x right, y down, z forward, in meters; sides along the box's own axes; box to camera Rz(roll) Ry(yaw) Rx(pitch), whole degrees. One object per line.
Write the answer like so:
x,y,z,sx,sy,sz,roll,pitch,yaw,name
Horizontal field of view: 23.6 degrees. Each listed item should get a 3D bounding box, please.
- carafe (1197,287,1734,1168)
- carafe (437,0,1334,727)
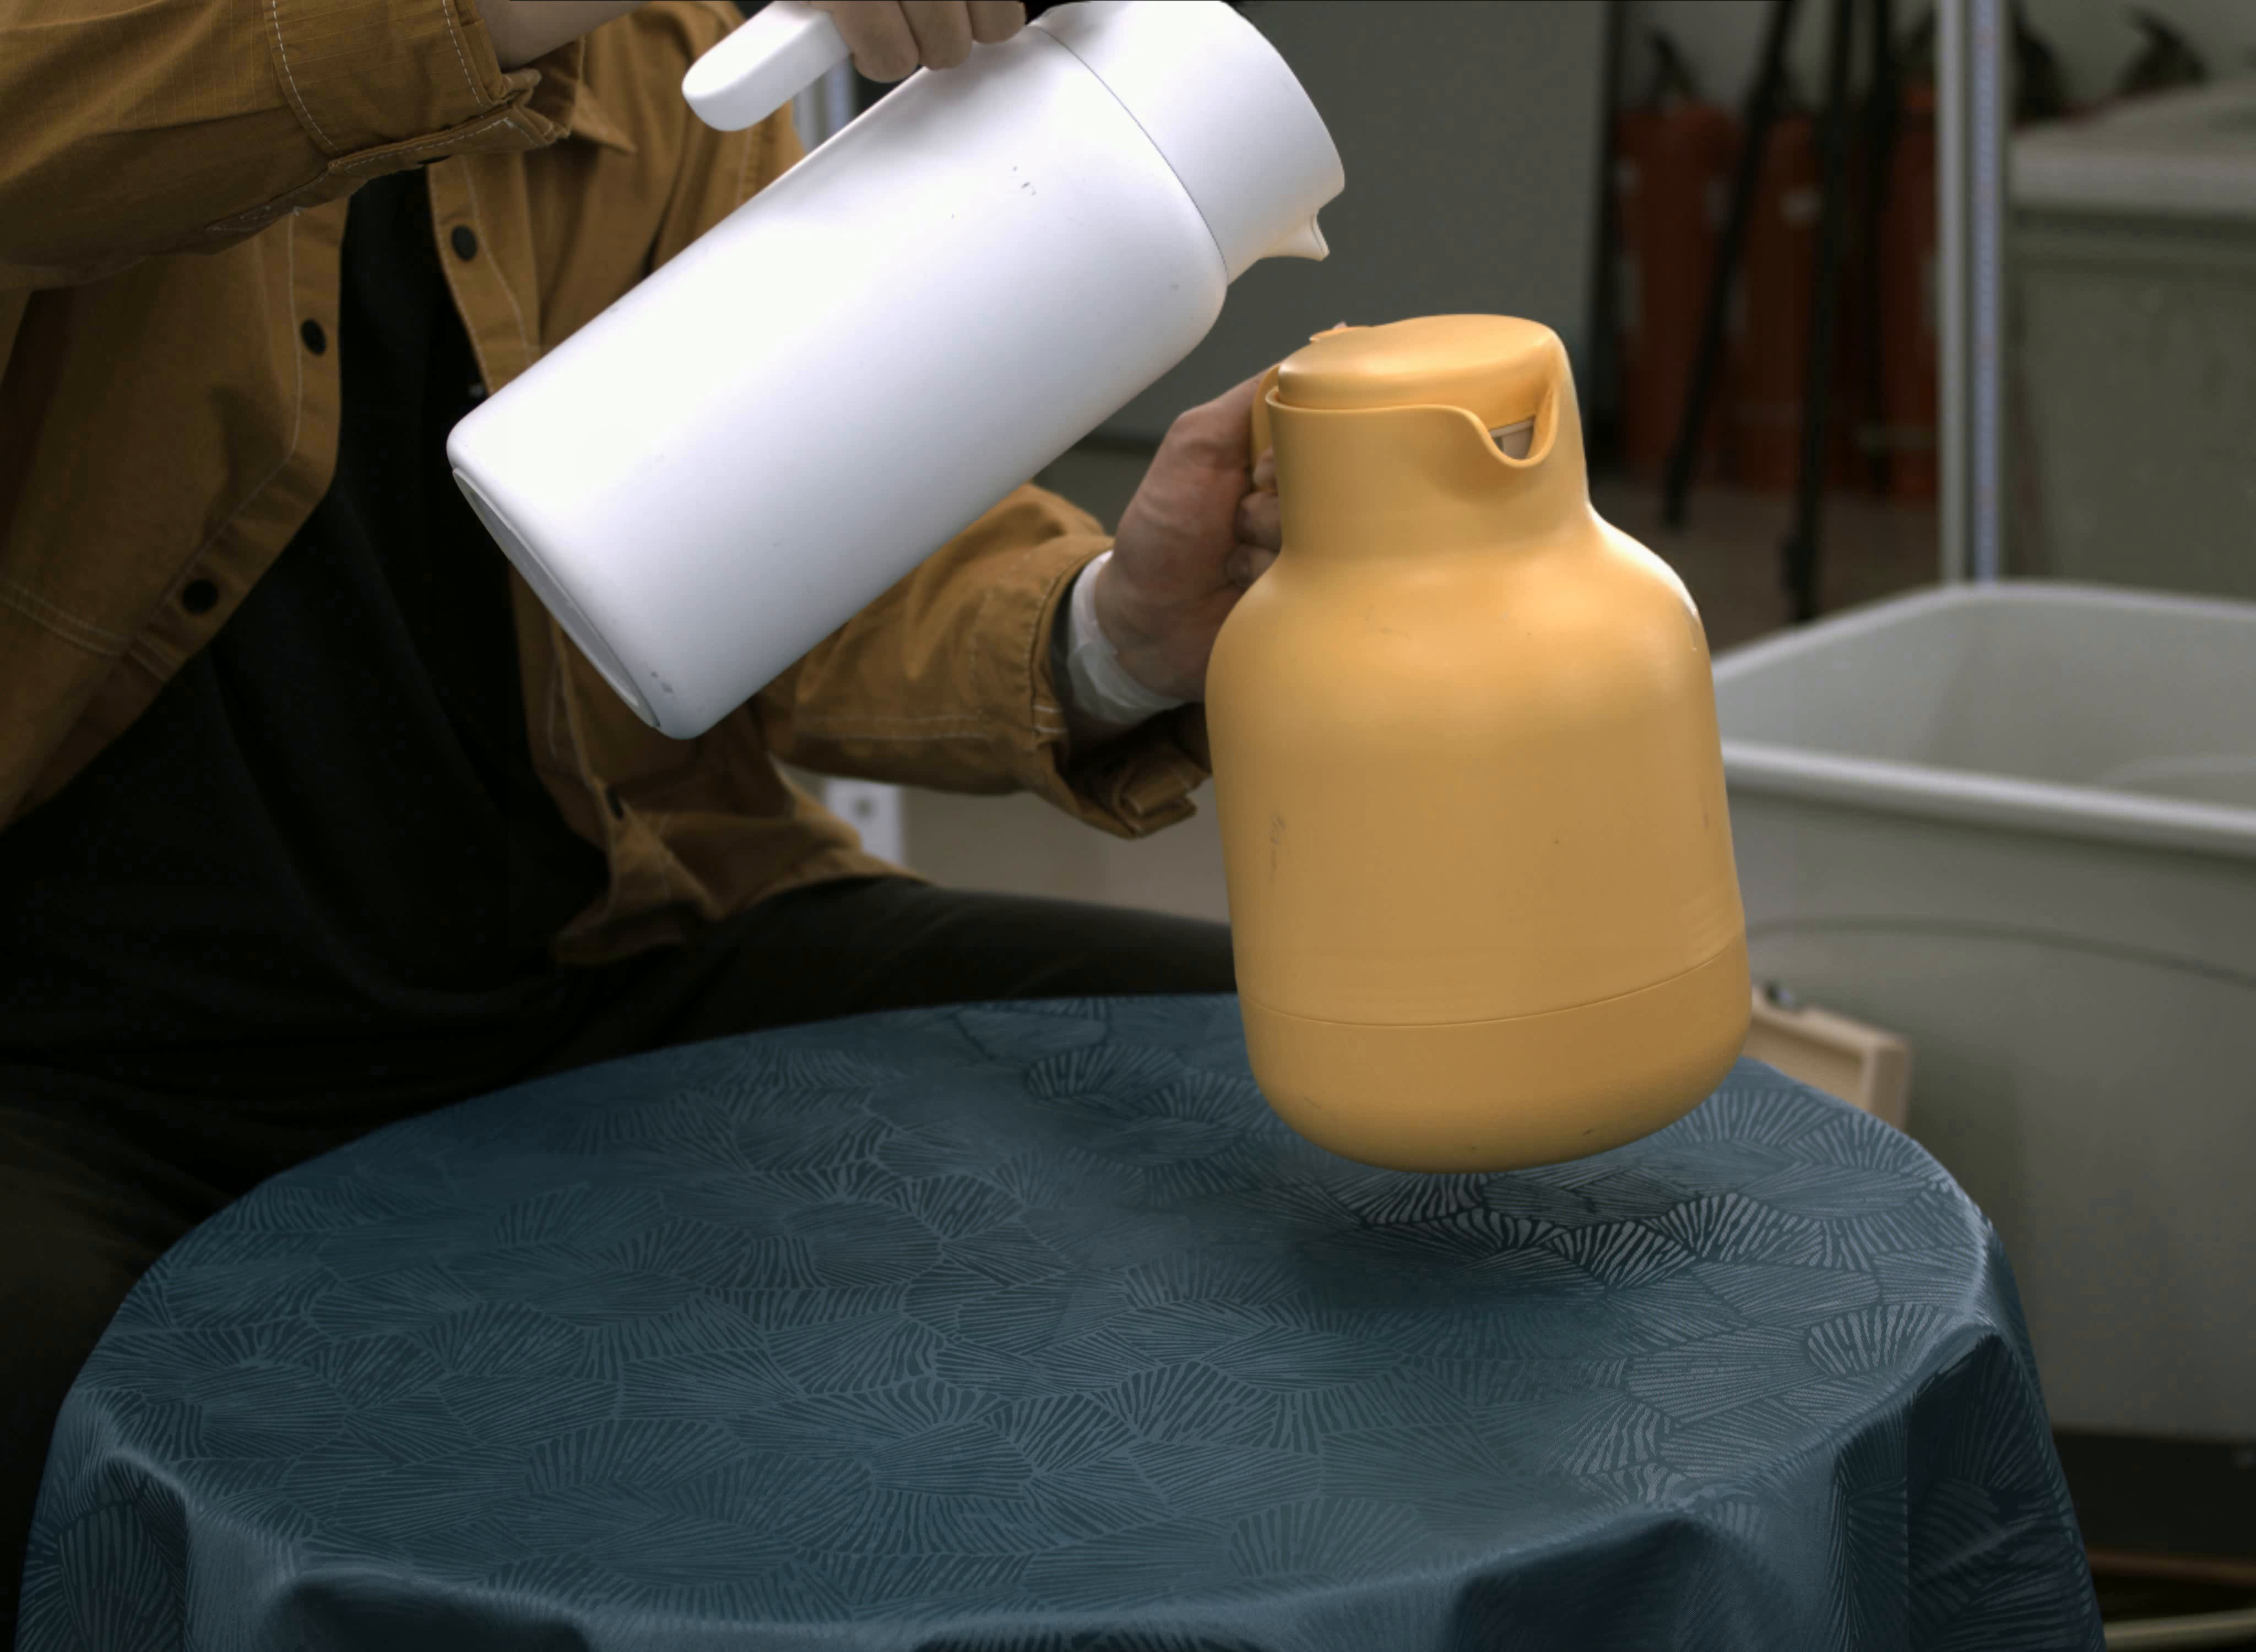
0.097,-0.039,1.707,0.160,0.263,0.204,-10,15,-16,carafe
-0.077,-0.166,1.596,0.267,0.172,0.125,-38,30,-5,carafe
